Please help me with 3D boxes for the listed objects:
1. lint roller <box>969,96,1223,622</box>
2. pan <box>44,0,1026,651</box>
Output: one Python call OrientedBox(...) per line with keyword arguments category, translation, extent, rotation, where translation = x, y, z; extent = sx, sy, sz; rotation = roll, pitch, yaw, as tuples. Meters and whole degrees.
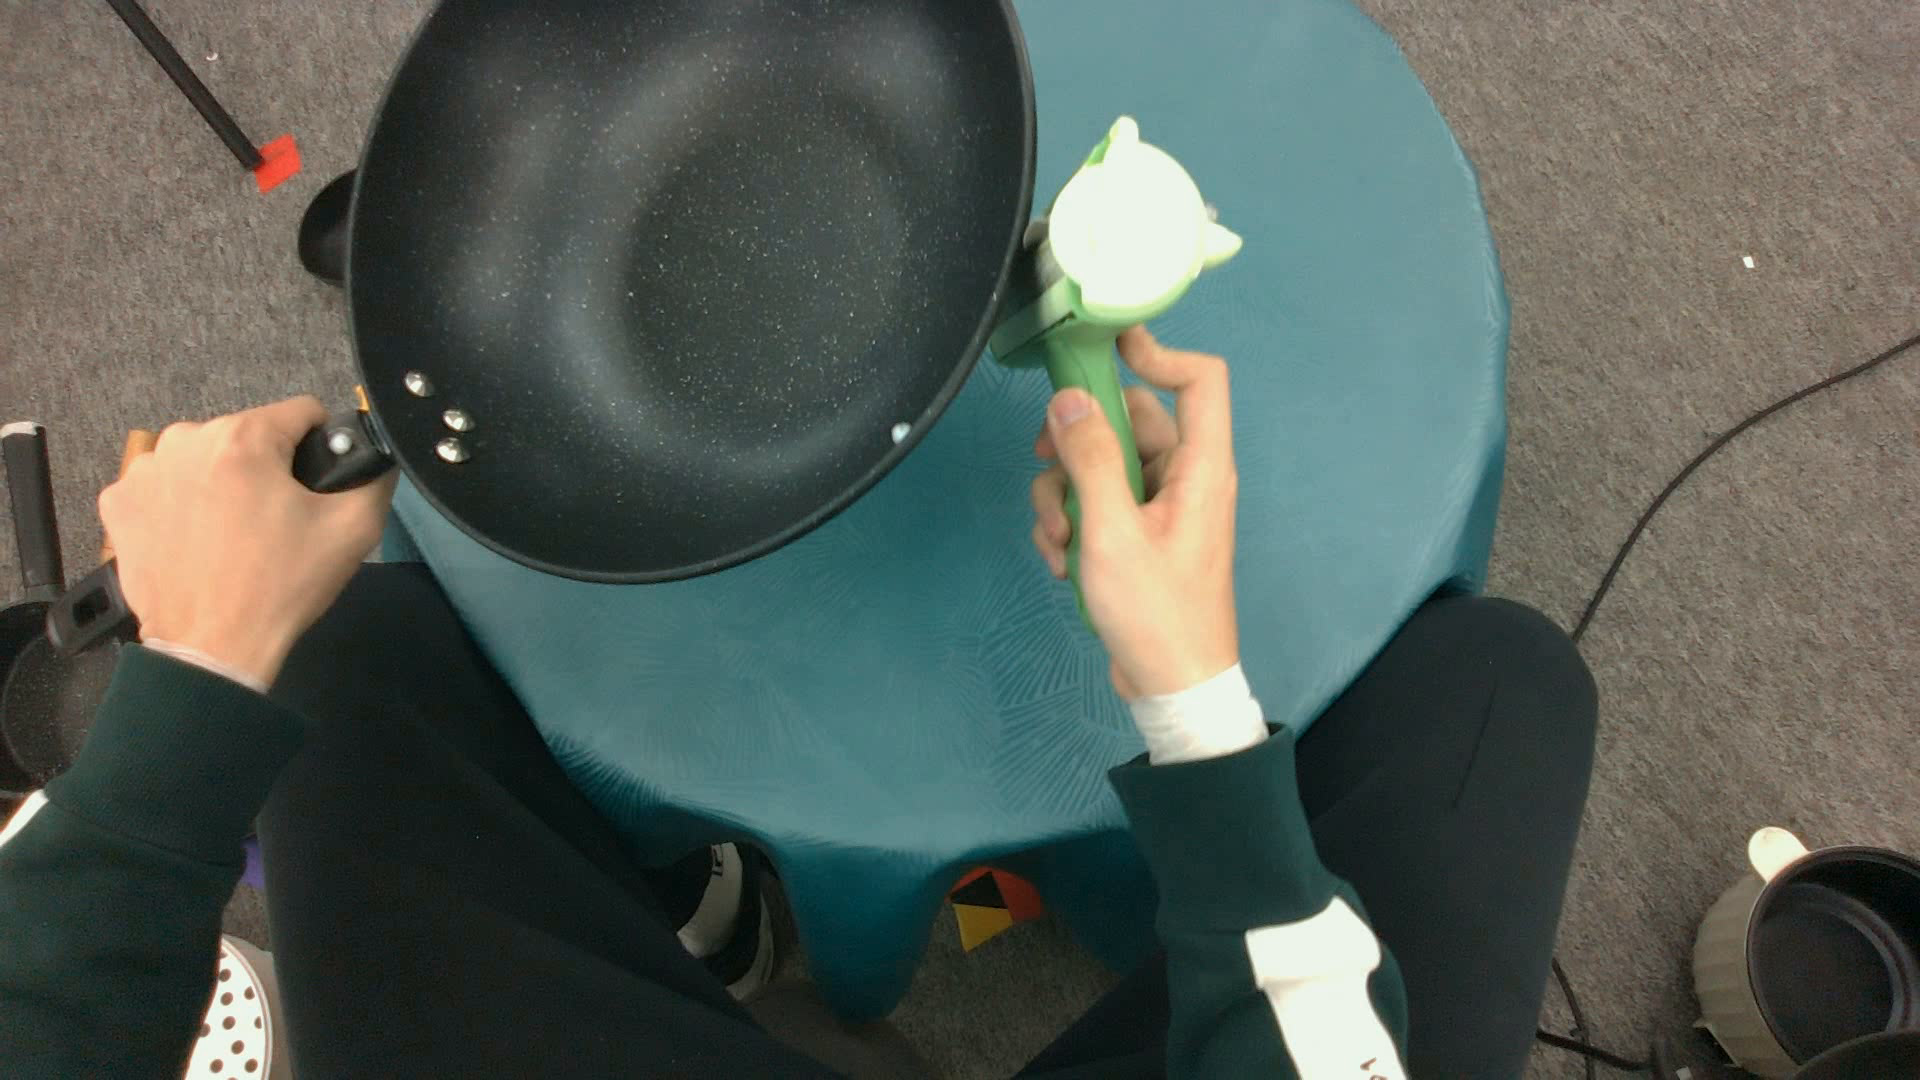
OrientedBox(category="lint roller", translation=(0.061, -0.064, 0.547), extent=(0.082, 0.198, 0.183), rotation=(-20, 96, -7))
OrientedBox(category="pan", translation=(-0.177, -0.091, 0.581), extent=(0.476, 0.111, 0.310), rotation=(-37, 70, 11))
